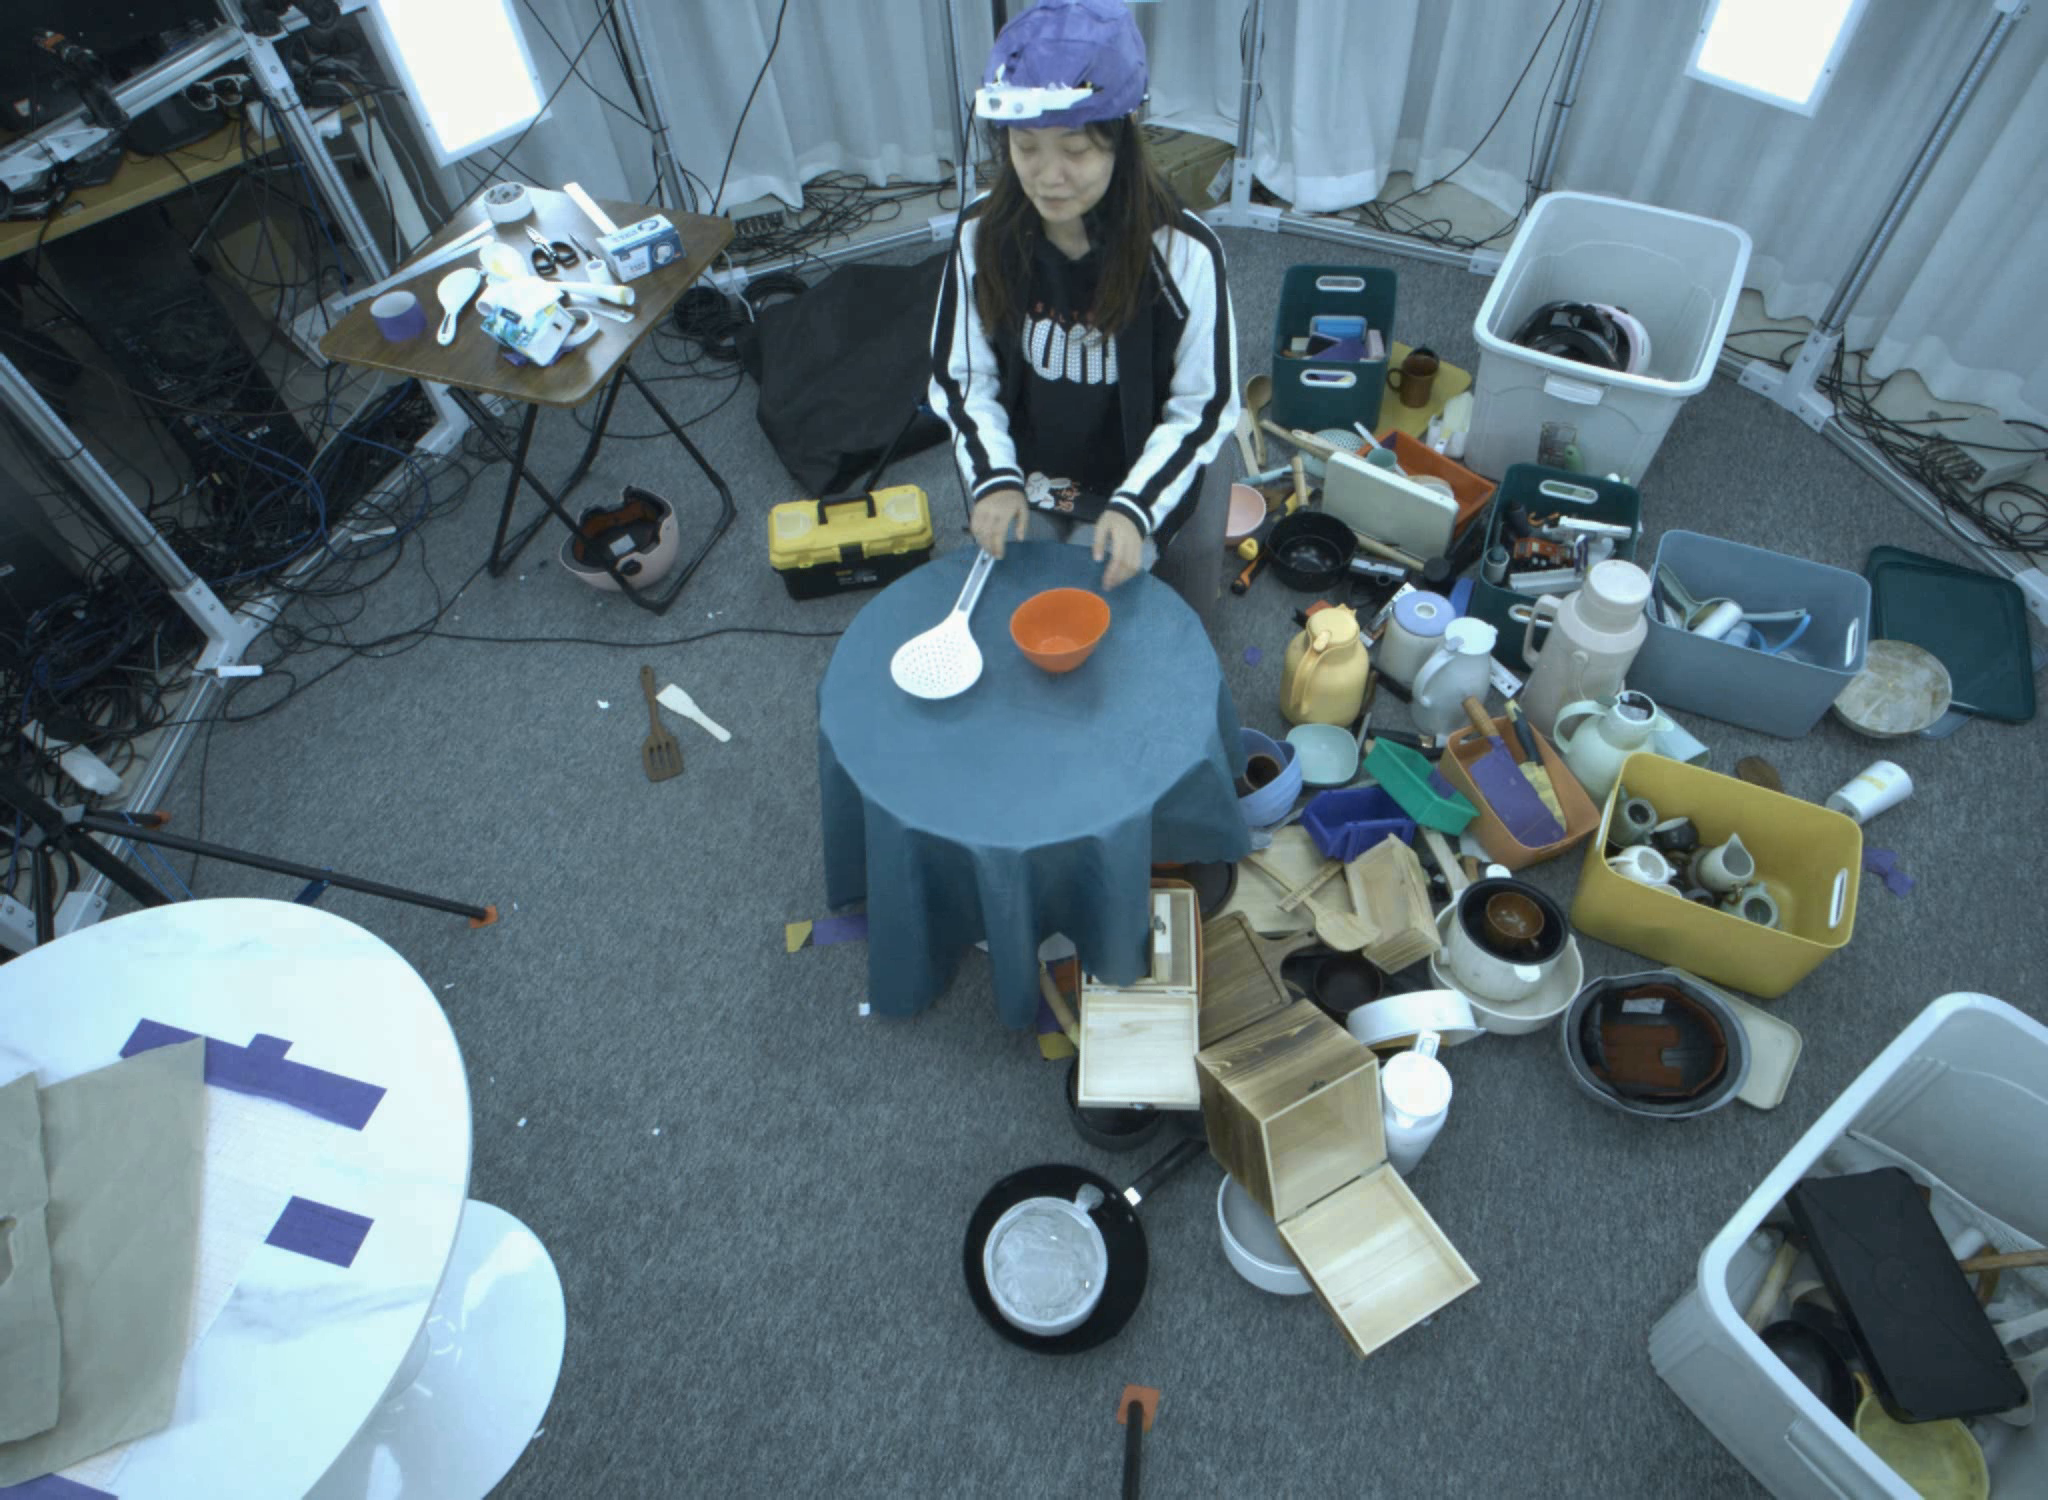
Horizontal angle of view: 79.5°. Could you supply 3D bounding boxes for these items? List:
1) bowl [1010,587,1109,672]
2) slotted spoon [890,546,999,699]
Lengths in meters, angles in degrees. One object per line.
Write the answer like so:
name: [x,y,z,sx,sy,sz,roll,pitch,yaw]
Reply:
bowl: [0.055,-0.167,1.842,0.147,0.106,0.146,-2,56,4]
slotted spoon: [-0.103,-0.203,1.907,0.135,0.046,0.348,12,56,10]
